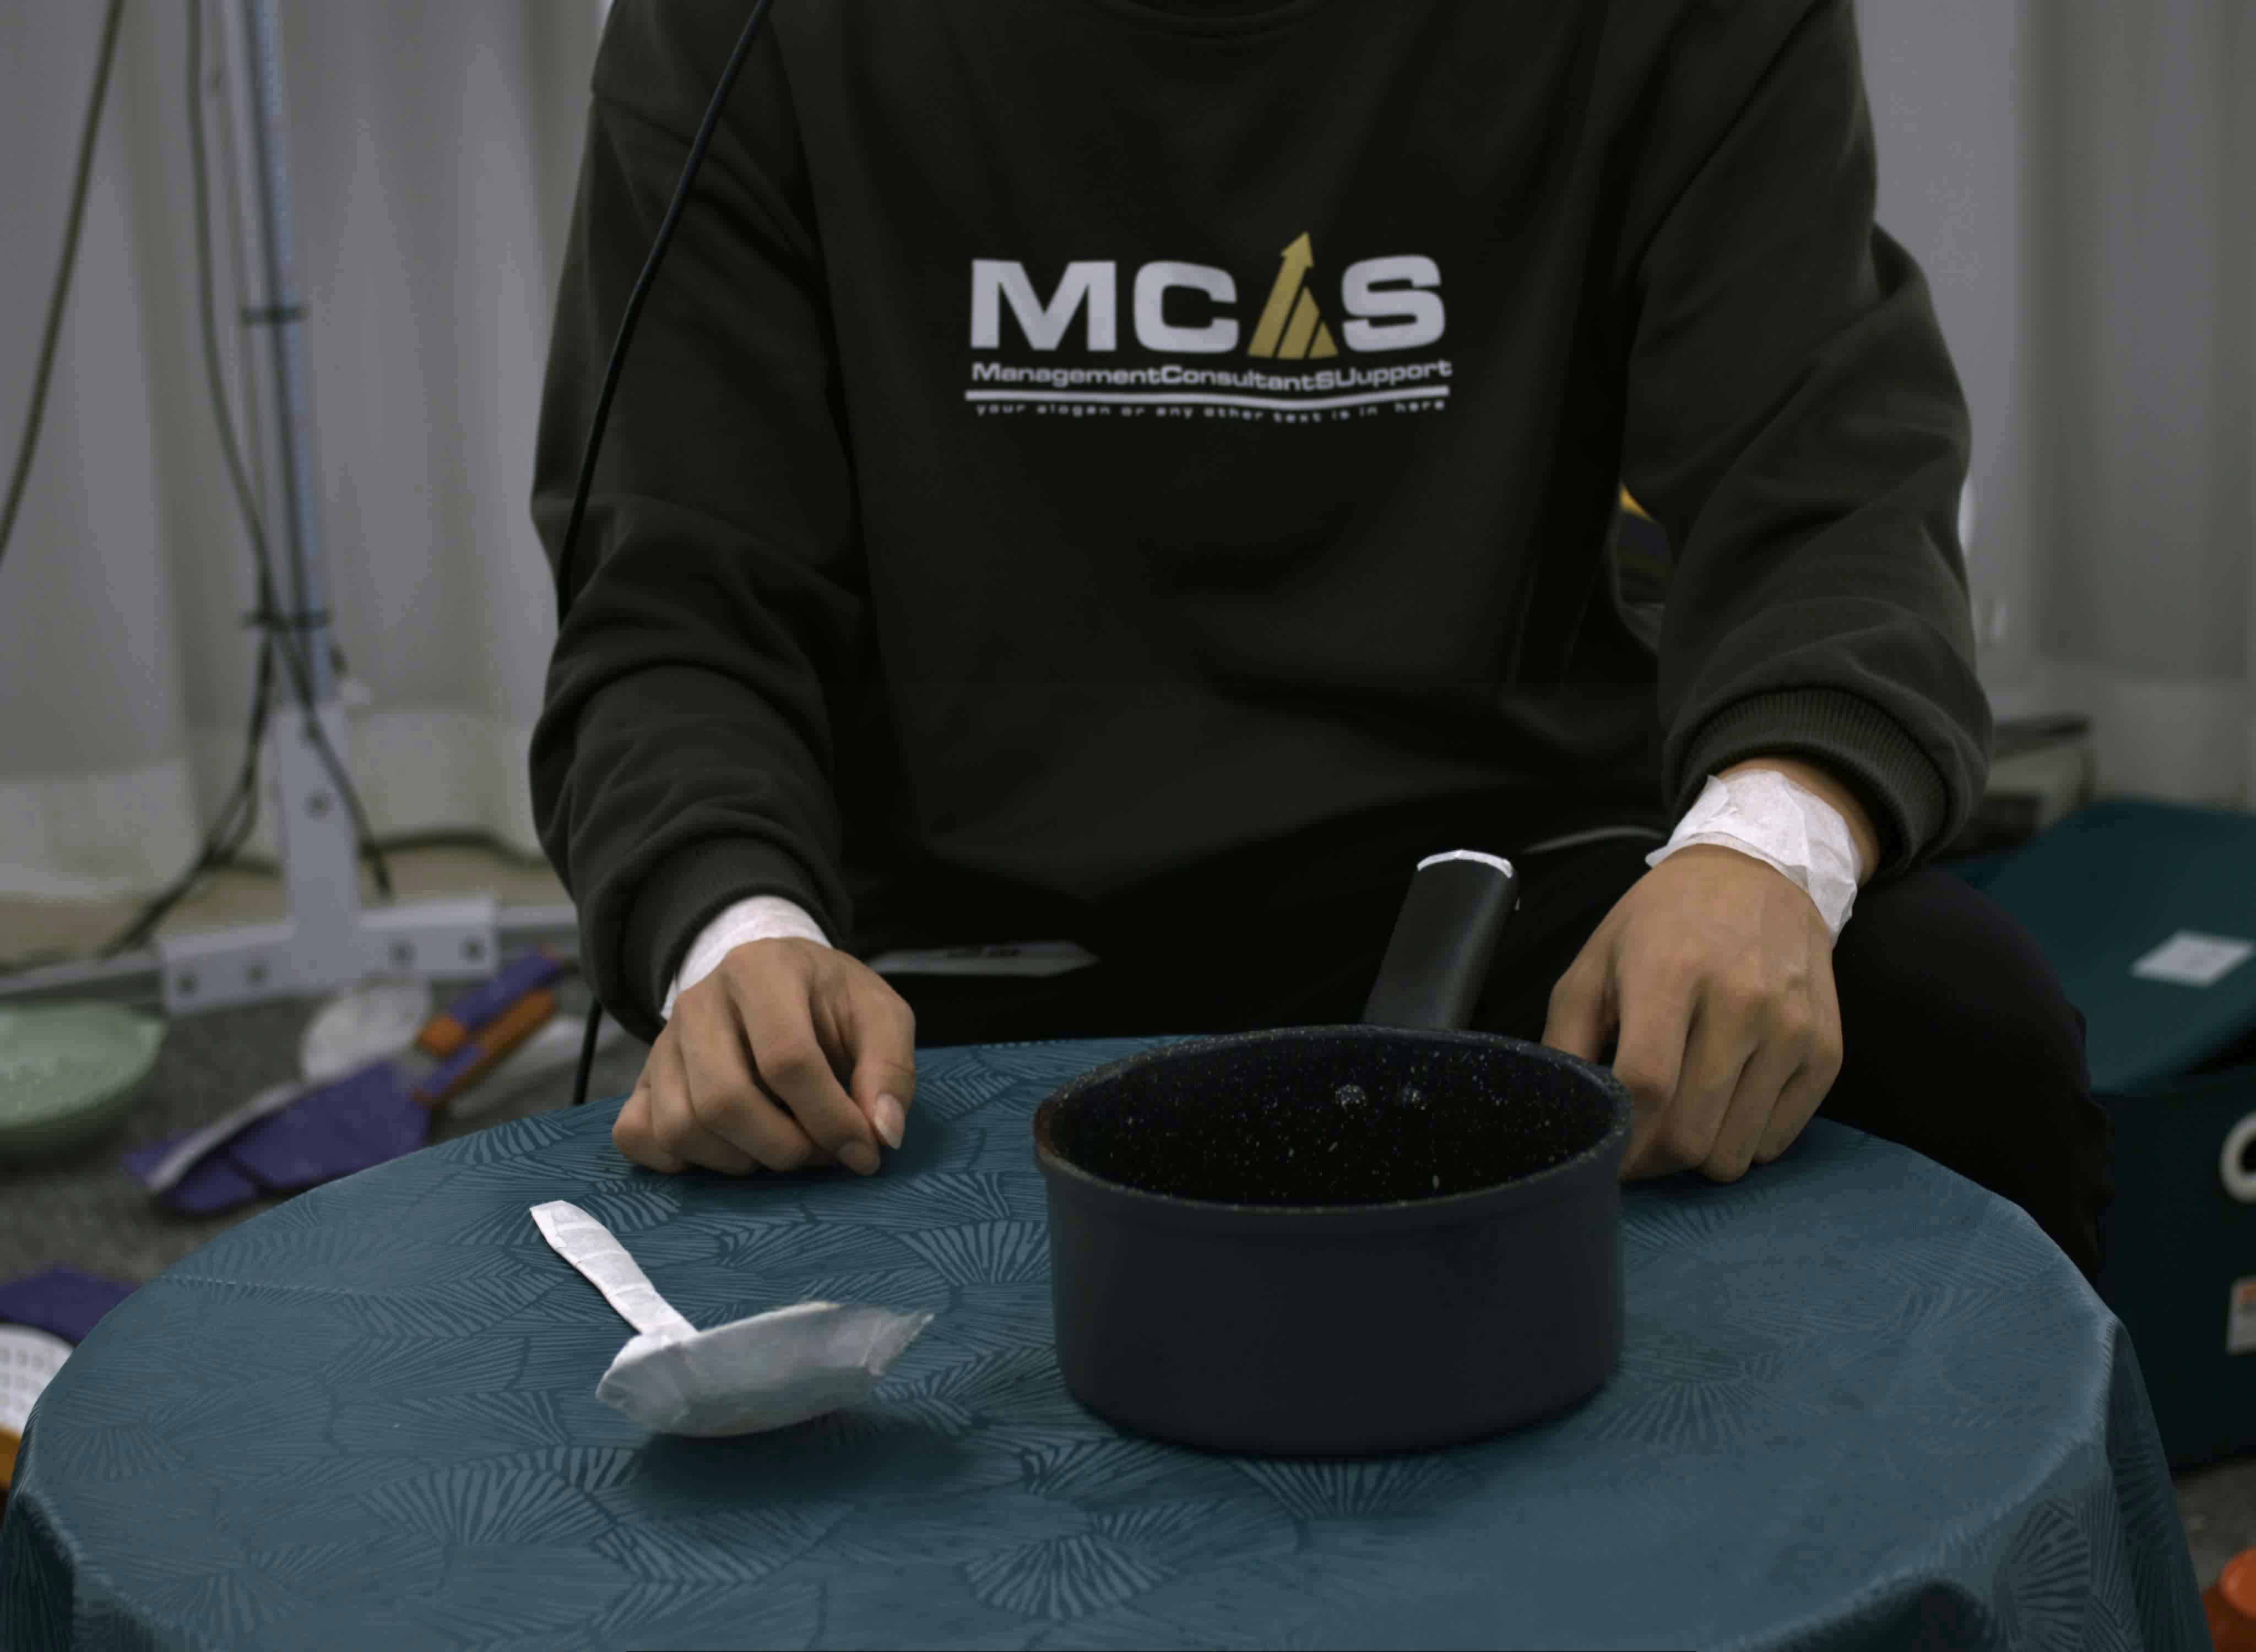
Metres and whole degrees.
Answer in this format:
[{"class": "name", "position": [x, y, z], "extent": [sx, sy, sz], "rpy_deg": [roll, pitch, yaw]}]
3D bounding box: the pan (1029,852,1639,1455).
[{"class": "pan", "position": [0.080, 0.093, 1.623], "extent": [0.172, 0.086, 0.330], "rpy_deg": [2, 16, 16]}]

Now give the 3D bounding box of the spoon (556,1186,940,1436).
[{"class": "spoon", "position": [-0.128, 0.123, 1.598], "extent": [0.100, 0.059, 0.279], "rpy_deg": [-5, 15, -17]}]
